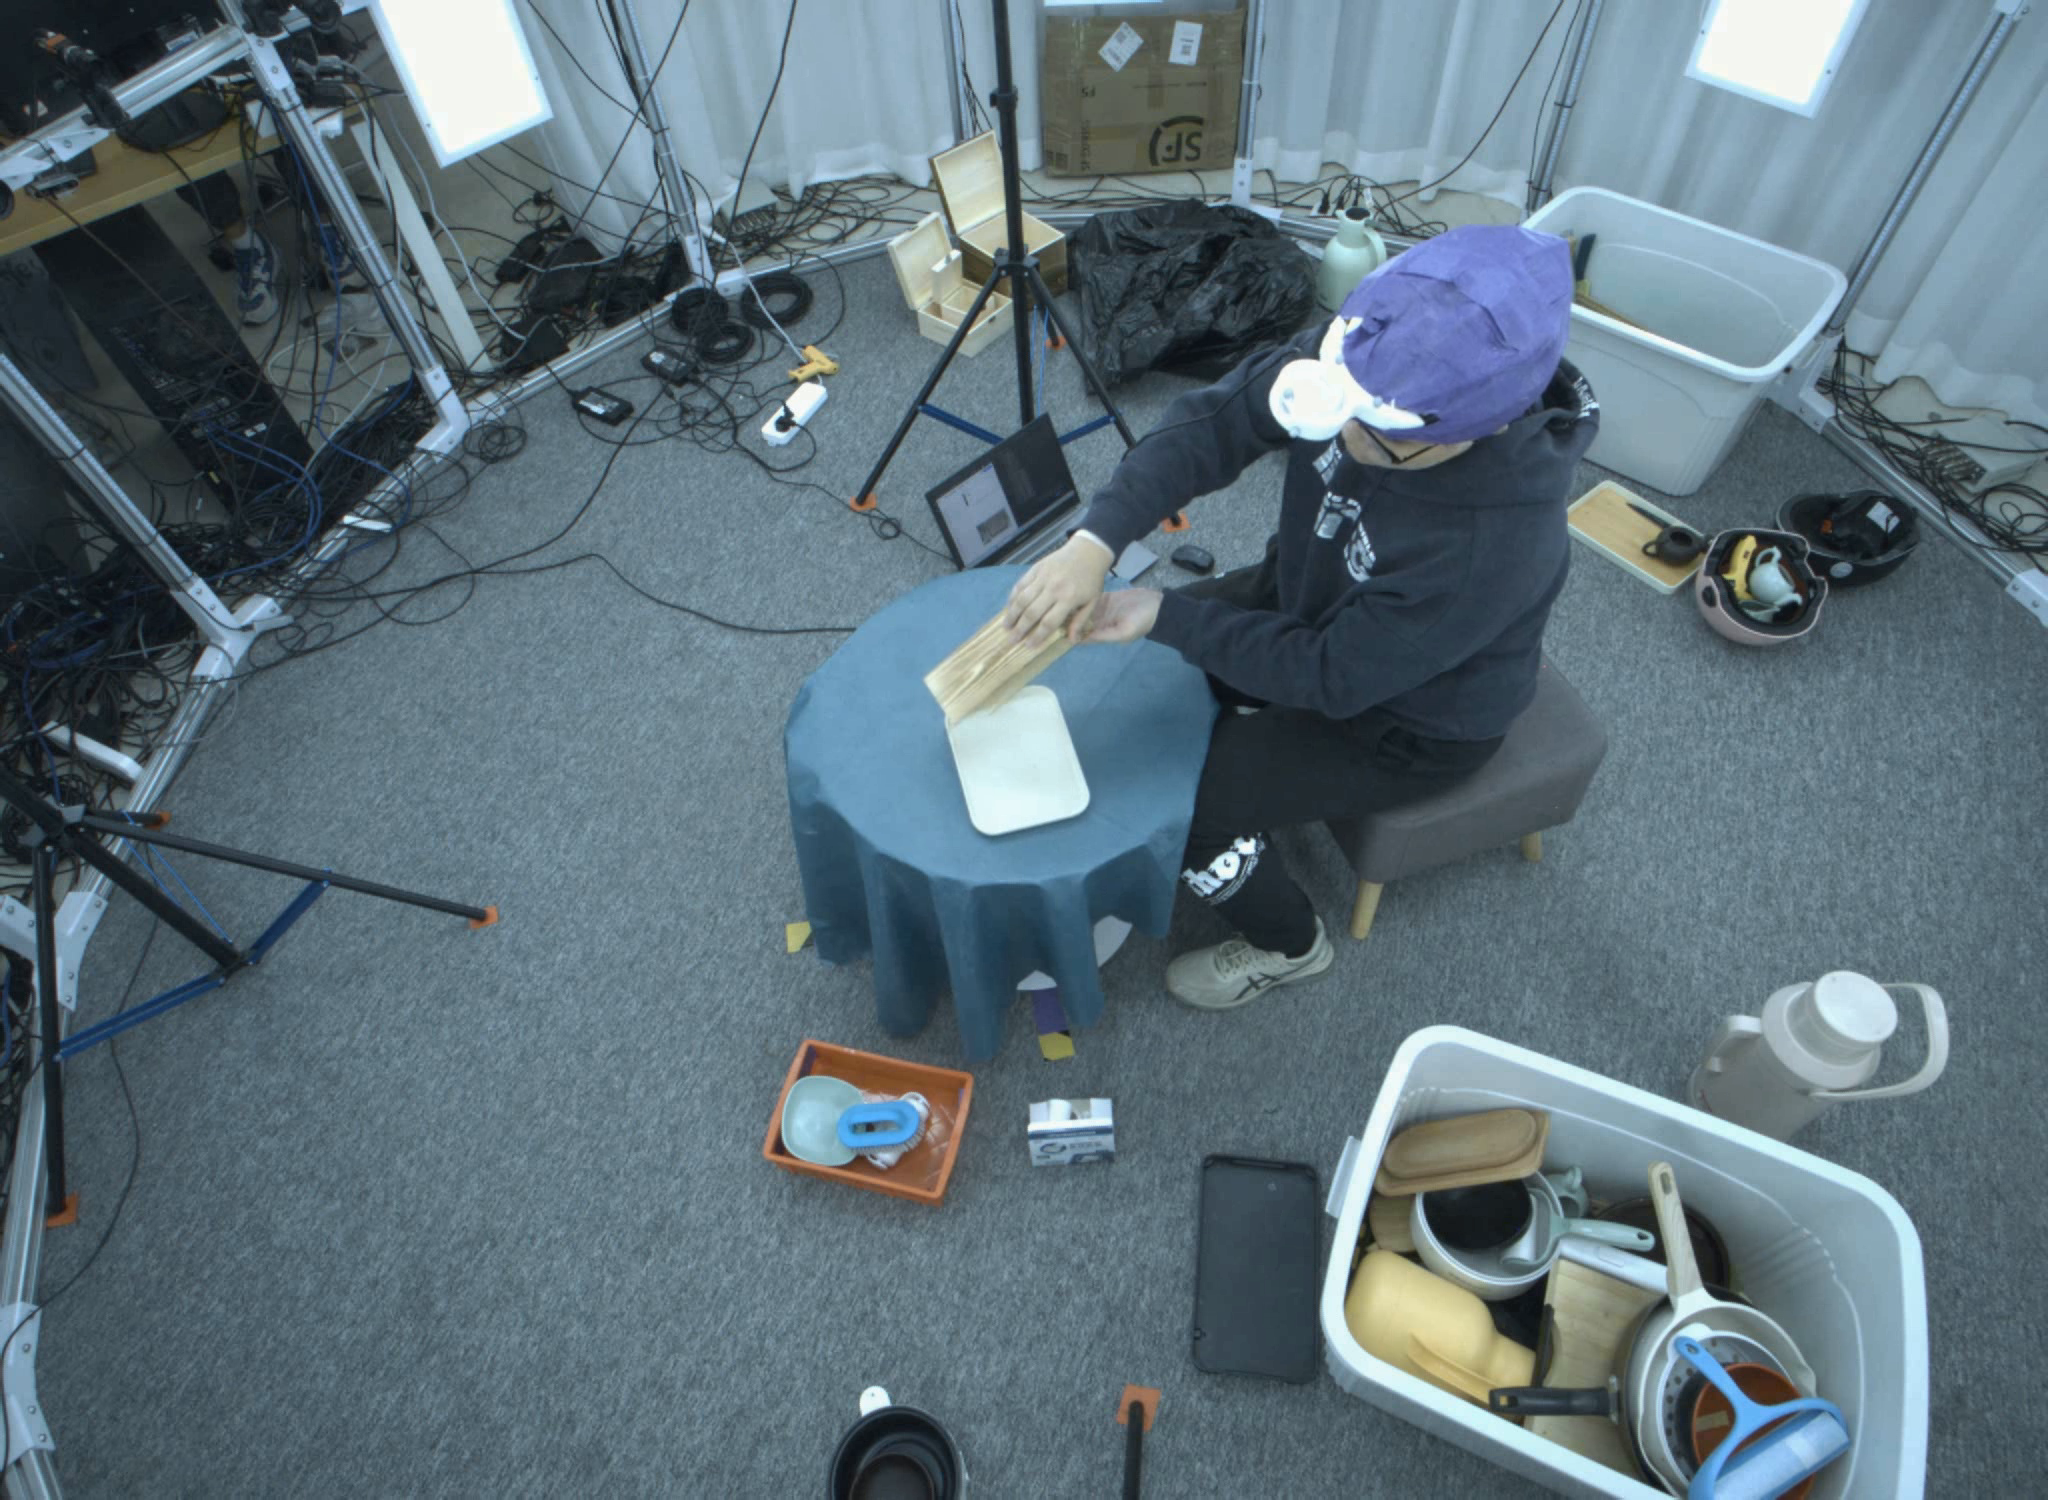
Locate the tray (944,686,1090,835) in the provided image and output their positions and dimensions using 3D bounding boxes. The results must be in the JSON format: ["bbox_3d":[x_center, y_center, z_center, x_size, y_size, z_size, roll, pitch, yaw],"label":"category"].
[{"bbox_3d":[-0.012,0.013,1.769,0.172,0.017,0.236,-13,55,-8],"label":"tray"}]

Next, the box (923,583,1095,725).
[{"bbox_3d":[-0.022,-0.132,1.683,0.080,0.209,0.109,56,28,7],"label":"box"}]
